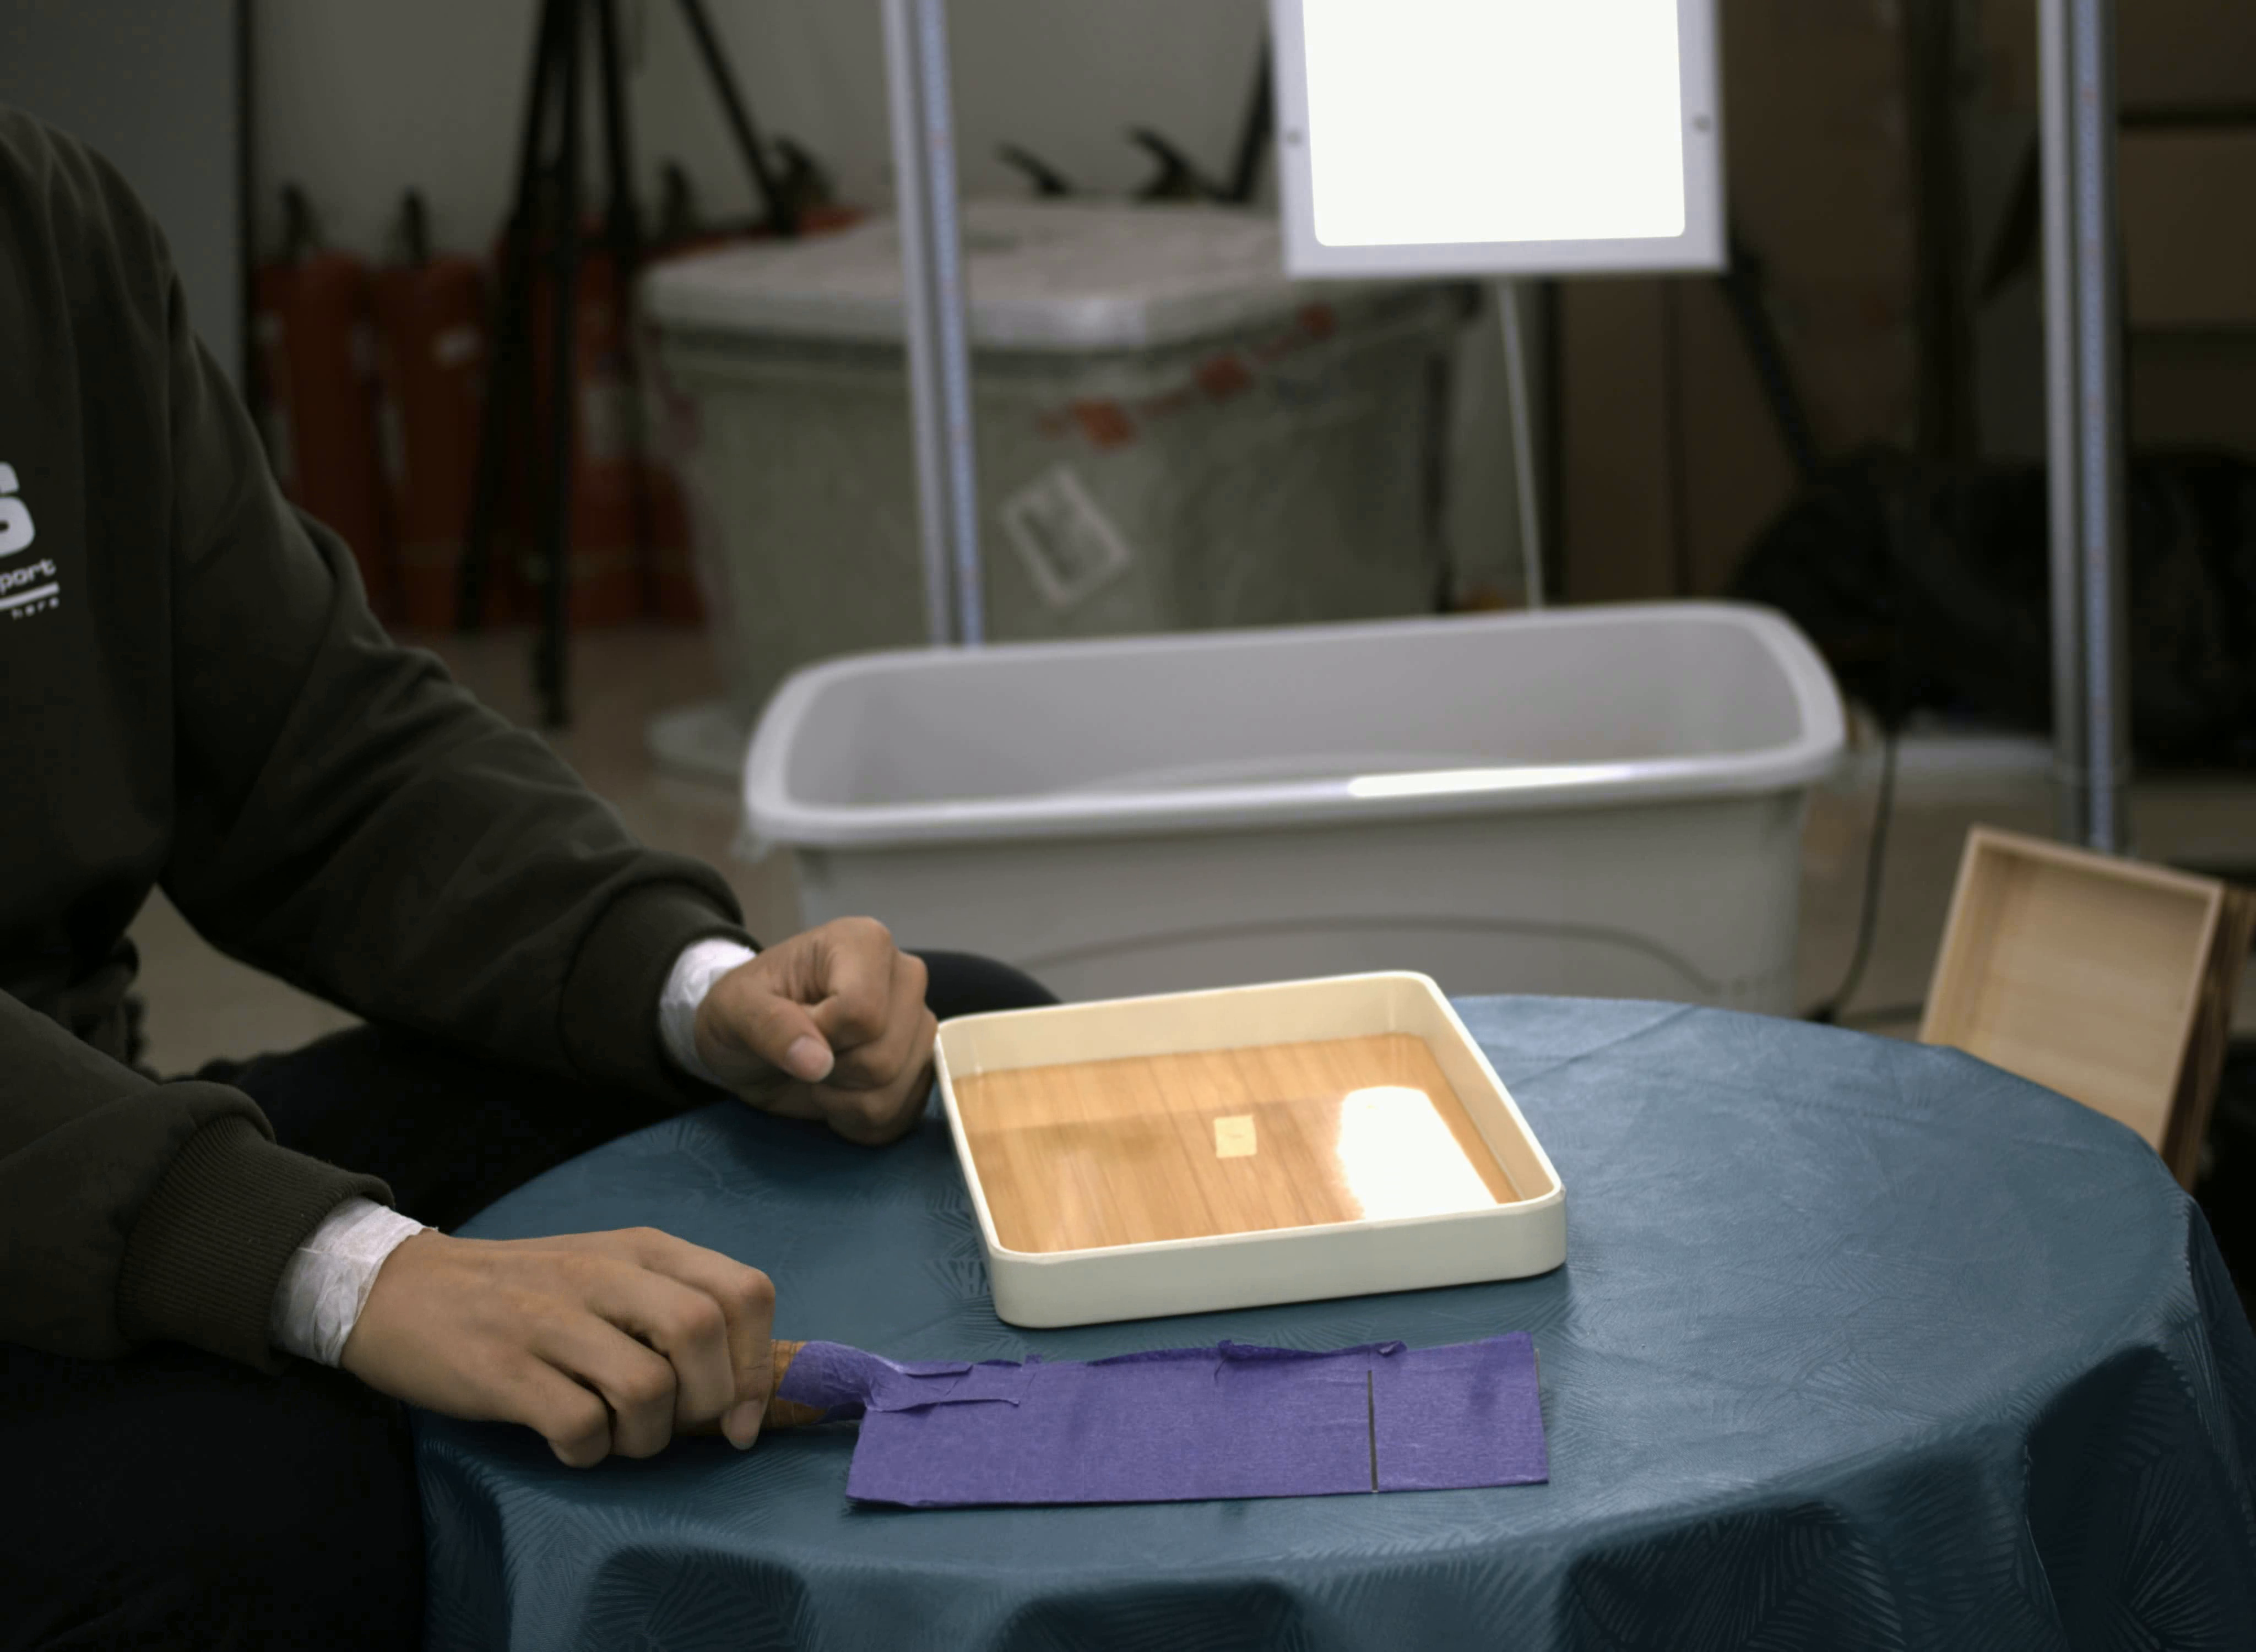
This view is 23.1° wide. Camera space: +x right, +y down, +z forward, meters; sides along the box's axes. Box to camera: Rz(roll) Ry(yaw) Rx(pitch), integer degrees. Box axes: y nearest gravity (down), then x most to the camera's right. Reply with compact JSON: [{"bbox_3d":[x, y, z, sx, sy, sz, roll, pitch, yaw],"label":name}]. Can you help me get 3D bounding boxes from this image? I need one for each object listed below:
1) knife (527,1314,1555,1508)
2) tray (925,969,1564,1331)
[{"bbox_3d":[-0.030,0.176,1.654,0.316,0.032,0.103,-5,19,7],"label":"knife"},{"bbox_3d":[0.034,0.108,1.909,0.190,0.027,0.301,-6,14,-4],"label":"tray"}]
